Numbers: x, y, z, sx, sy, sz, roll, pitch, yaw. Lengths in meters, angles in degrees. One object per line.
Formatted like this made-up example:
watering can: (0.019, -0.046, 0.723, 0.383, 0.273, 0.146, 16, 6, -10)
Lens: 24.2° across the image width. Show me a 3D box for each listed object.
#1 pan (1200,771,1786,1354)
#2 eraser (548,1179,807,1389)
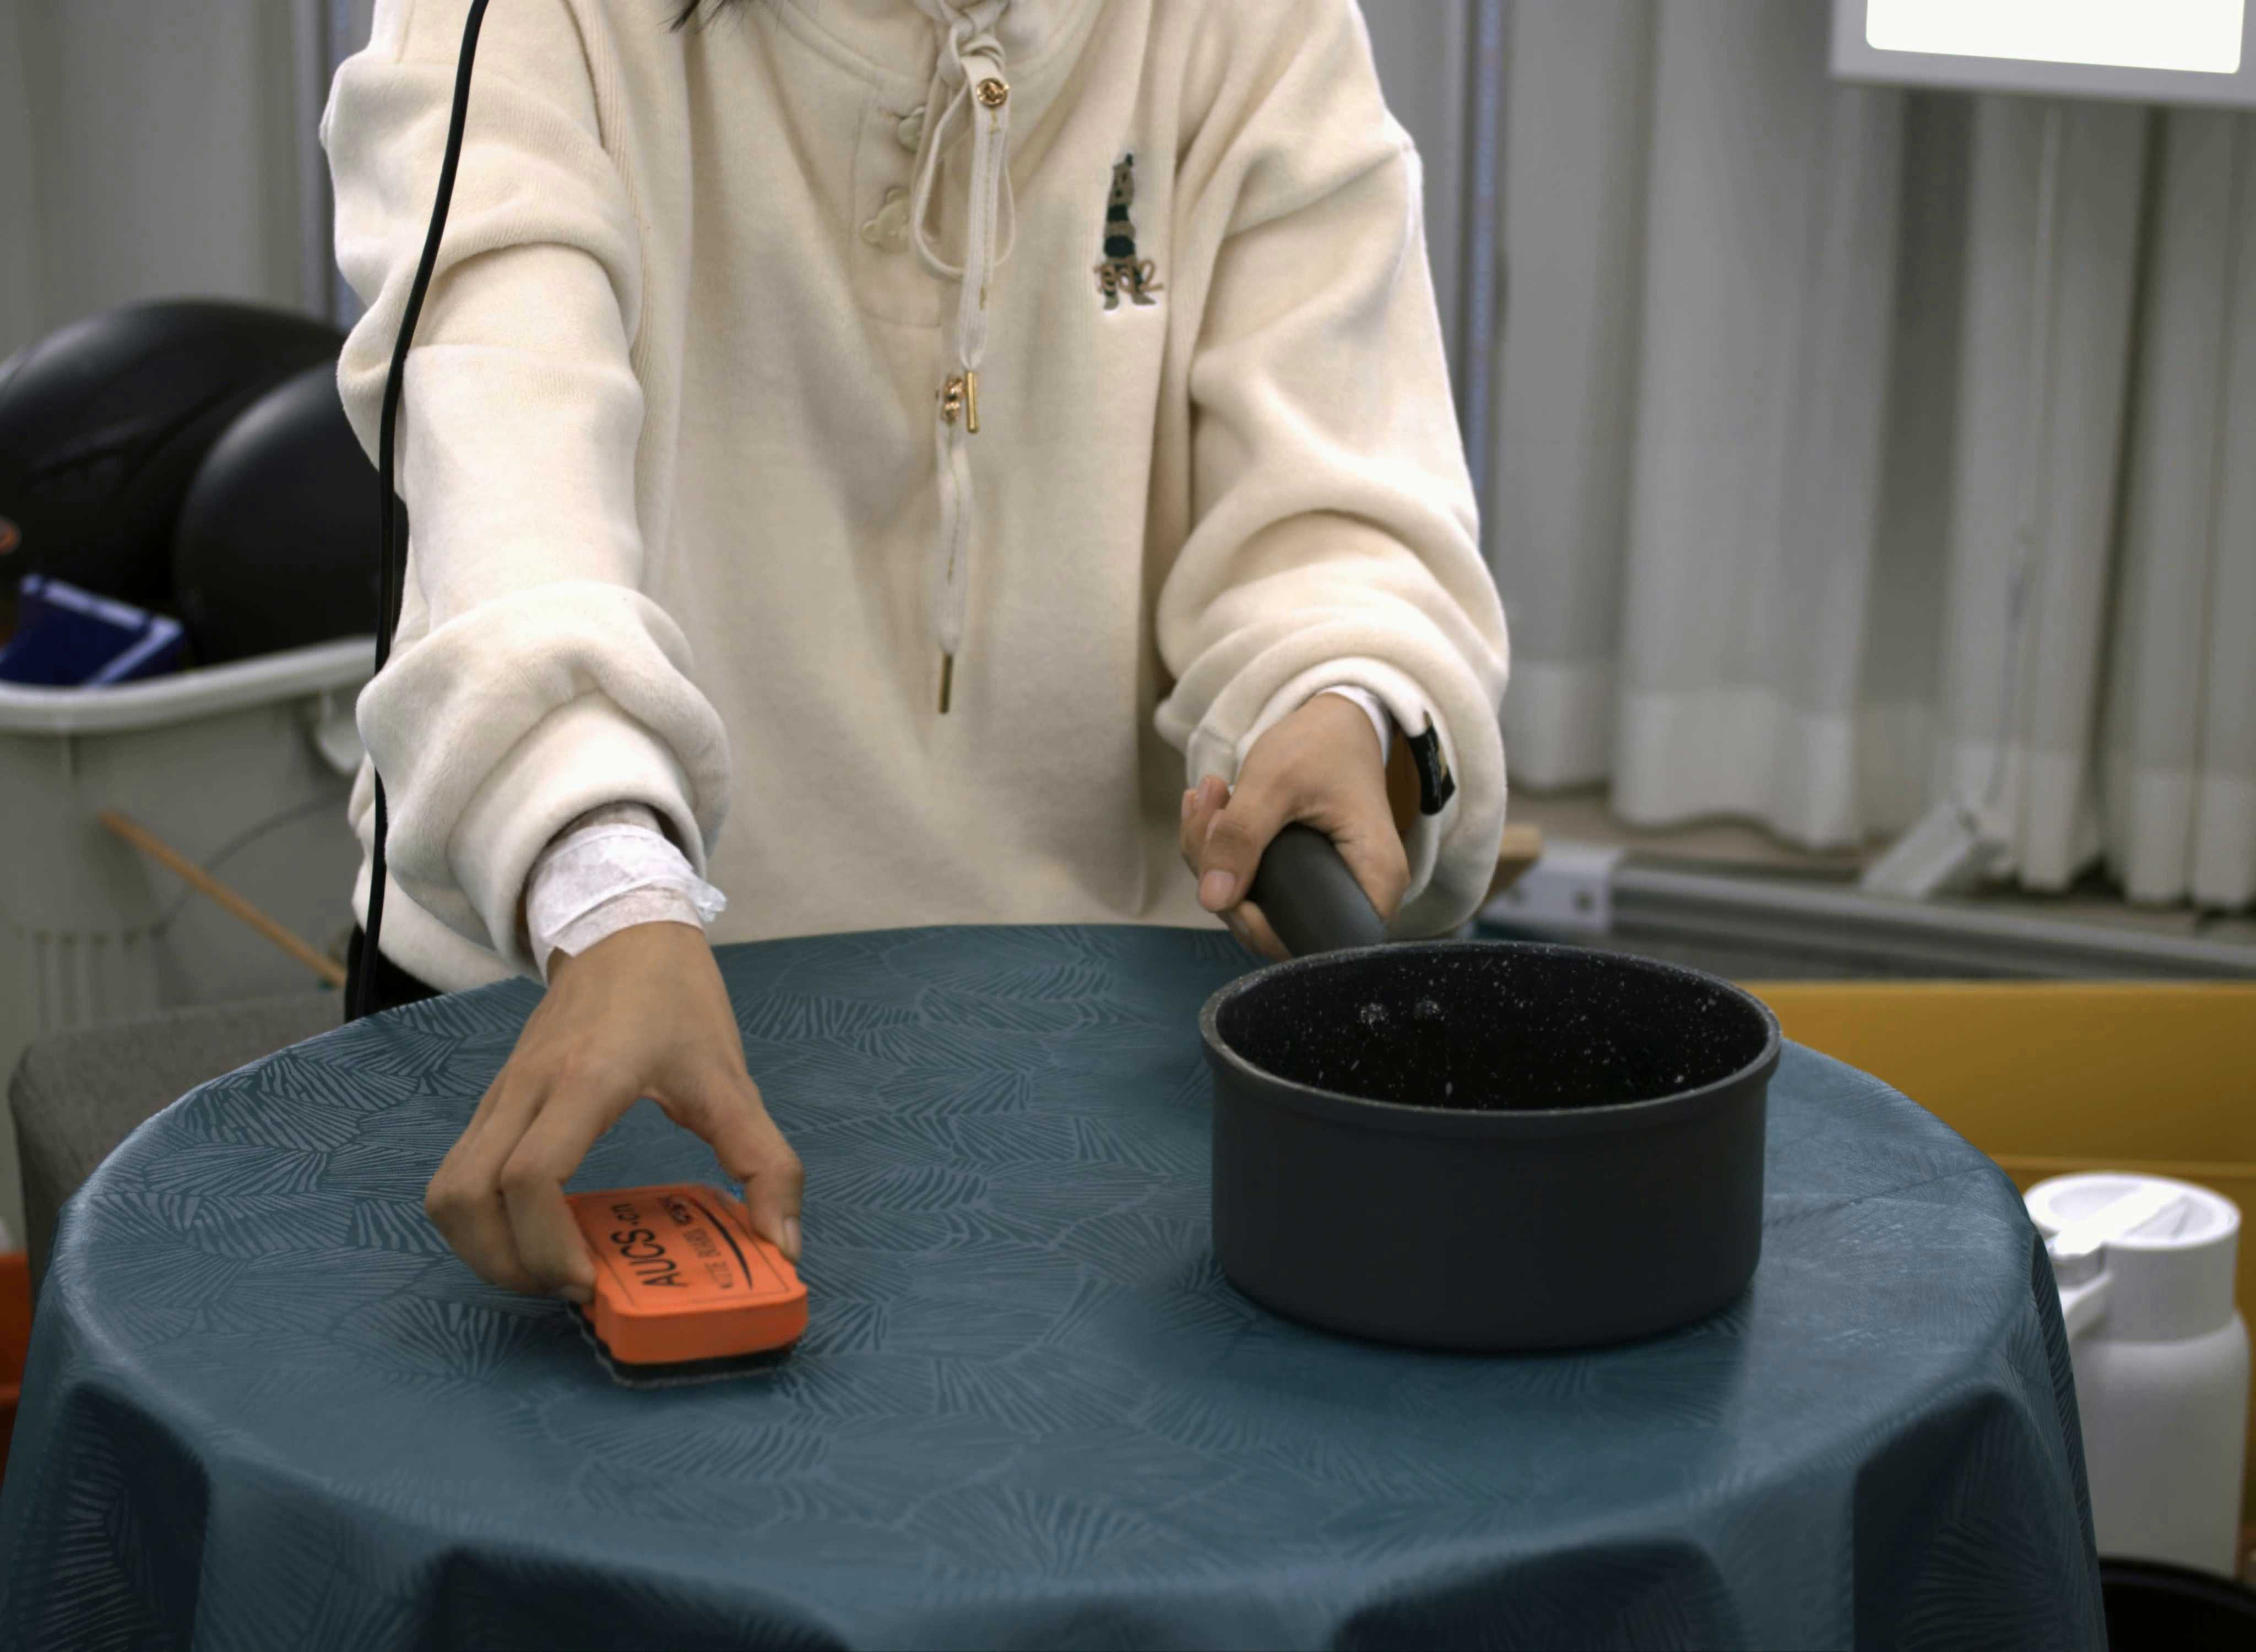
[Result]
pan: (0.088, 0.068, 1.623, 0.172, 0.087, 0.325, -3, 17, -13)
eraser: (-0.130, 0.130, 1.508, 0.059, 0.023, 0.107, -5, 17, -16)
